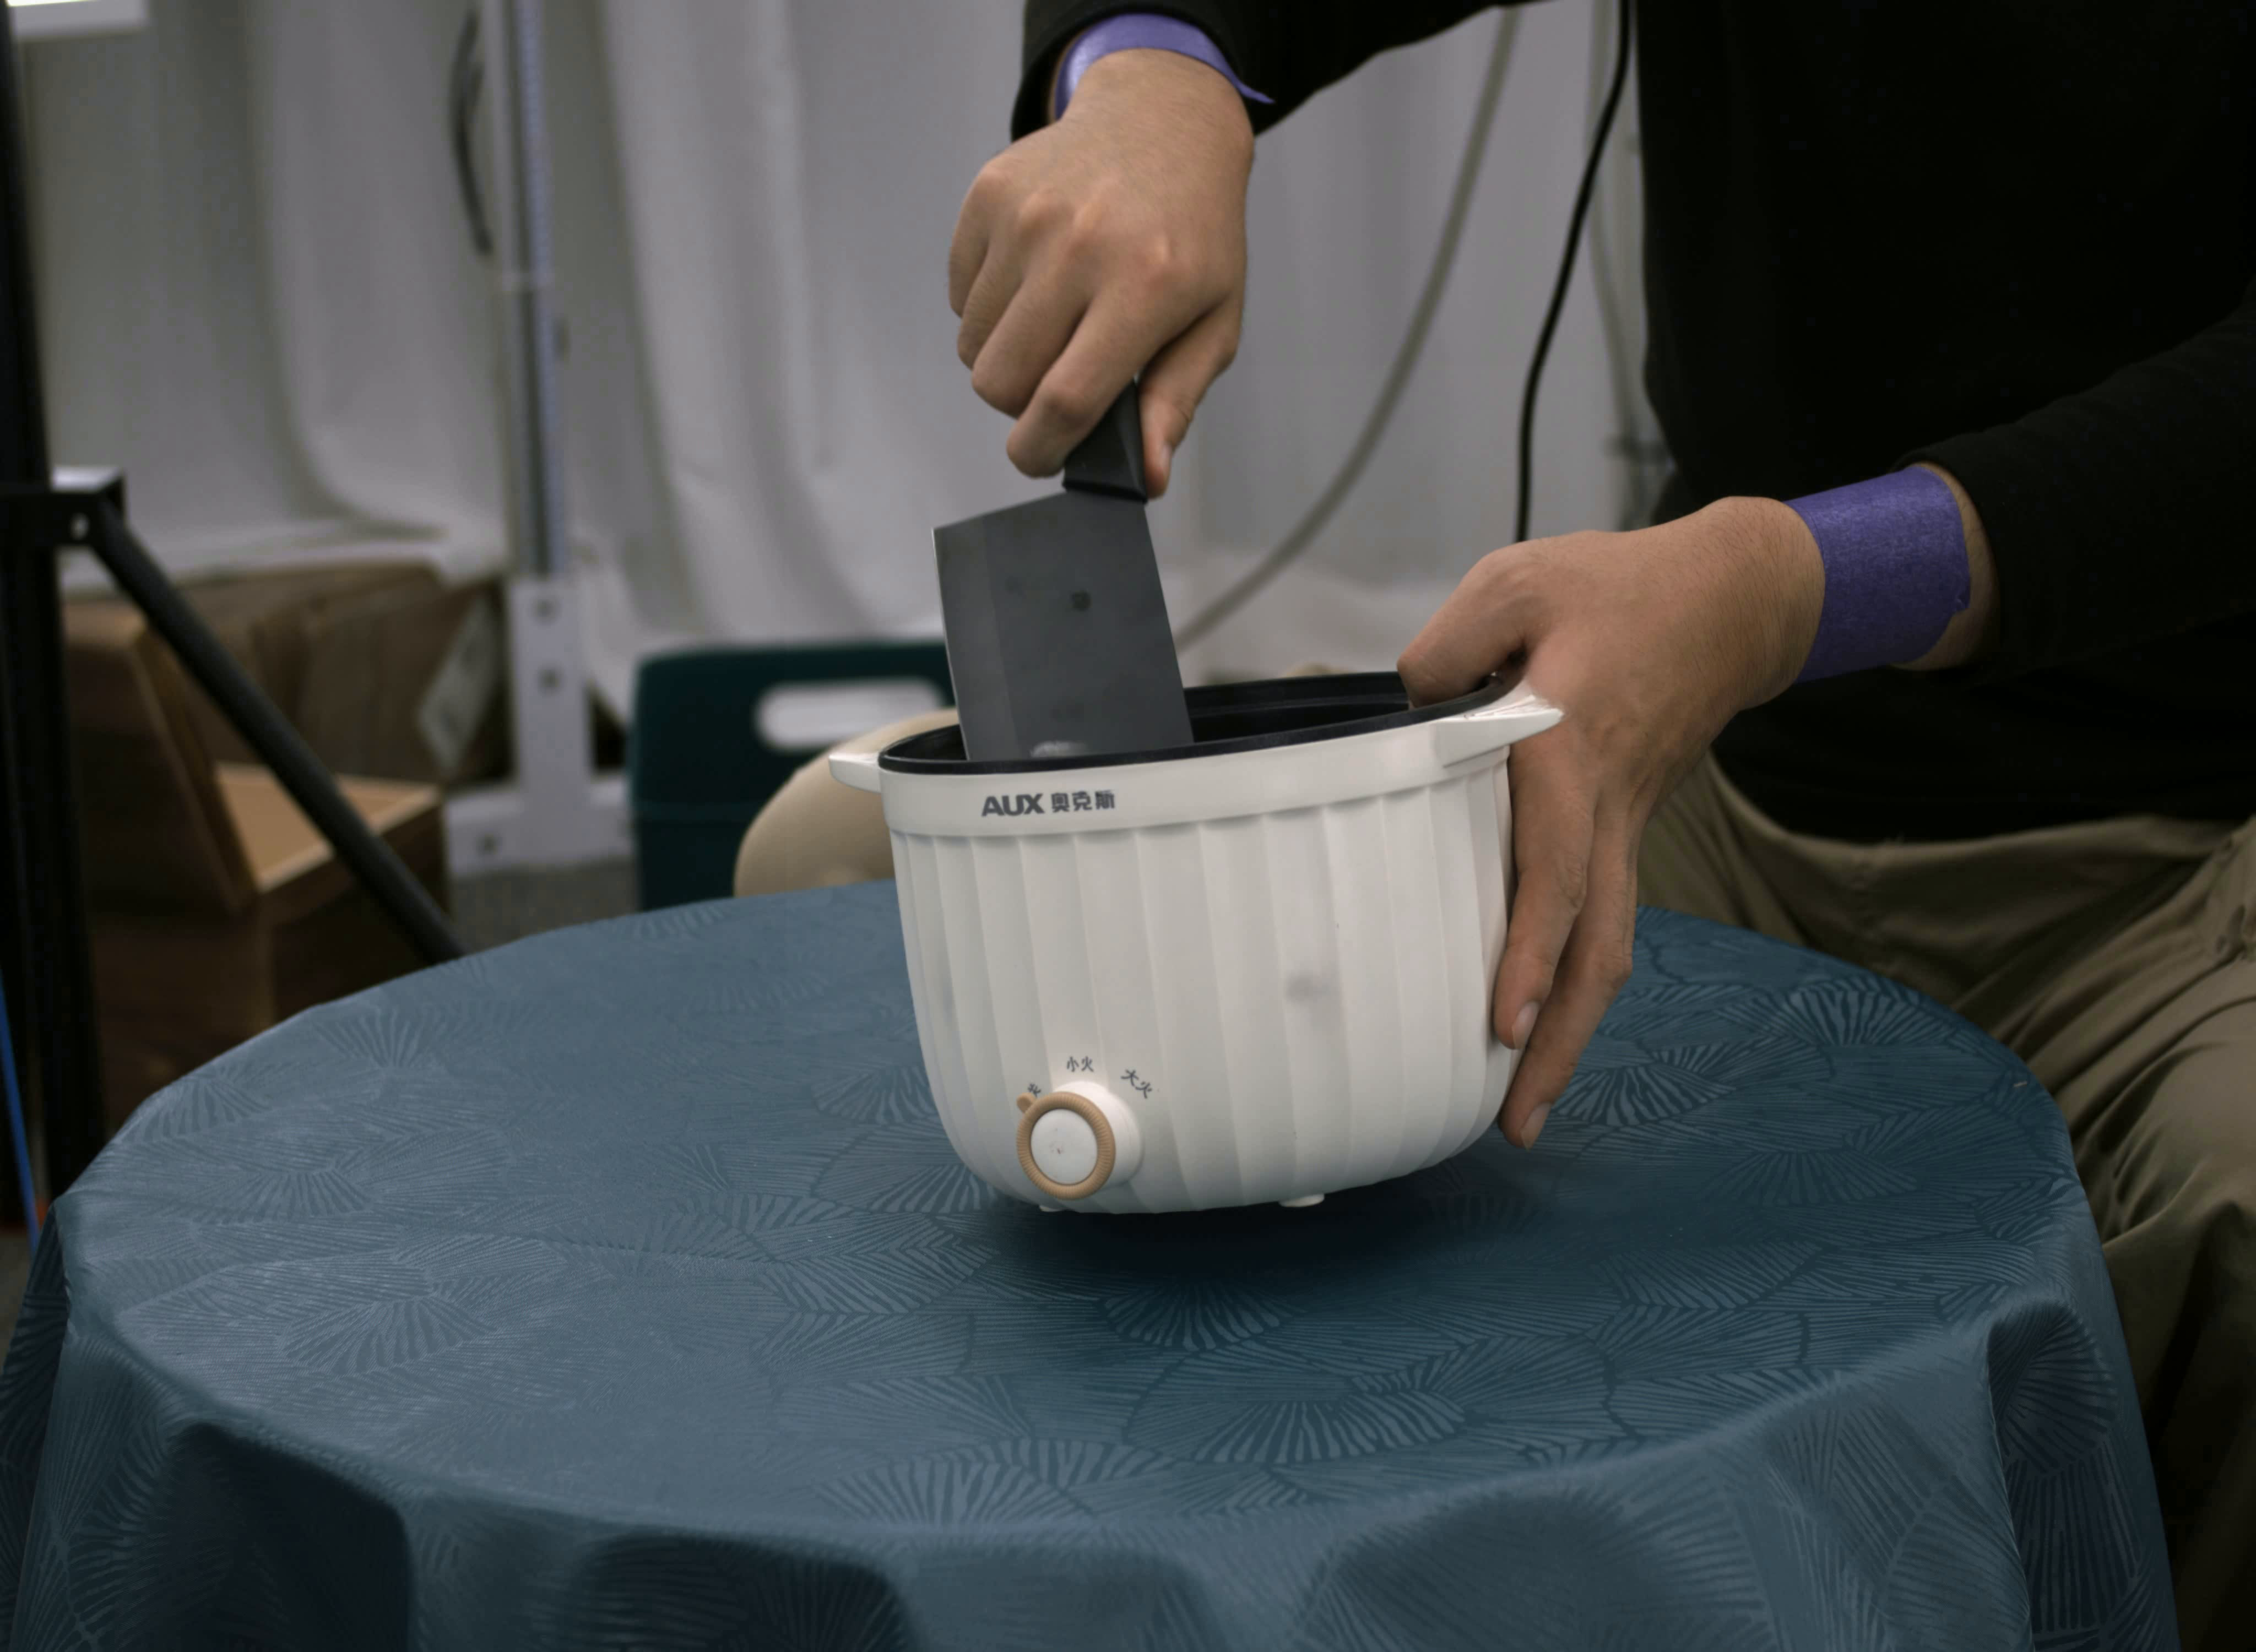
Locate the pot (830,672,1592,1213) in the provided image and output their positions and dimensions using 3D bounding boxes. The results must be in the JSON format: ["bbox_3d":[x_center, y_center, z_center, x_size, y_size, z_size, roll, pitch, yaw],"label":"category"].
[{"bbox_3d":[0.025,0.035,1.519,0.244,0.143,0.186,-4,3,30],"label":"pot"}]

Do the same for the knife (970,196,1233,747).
[{"bbox_3d":[-0.009,-0.076,1.588,0.081,0.020,0.306,-13,51,7],"label":"knife"}]
